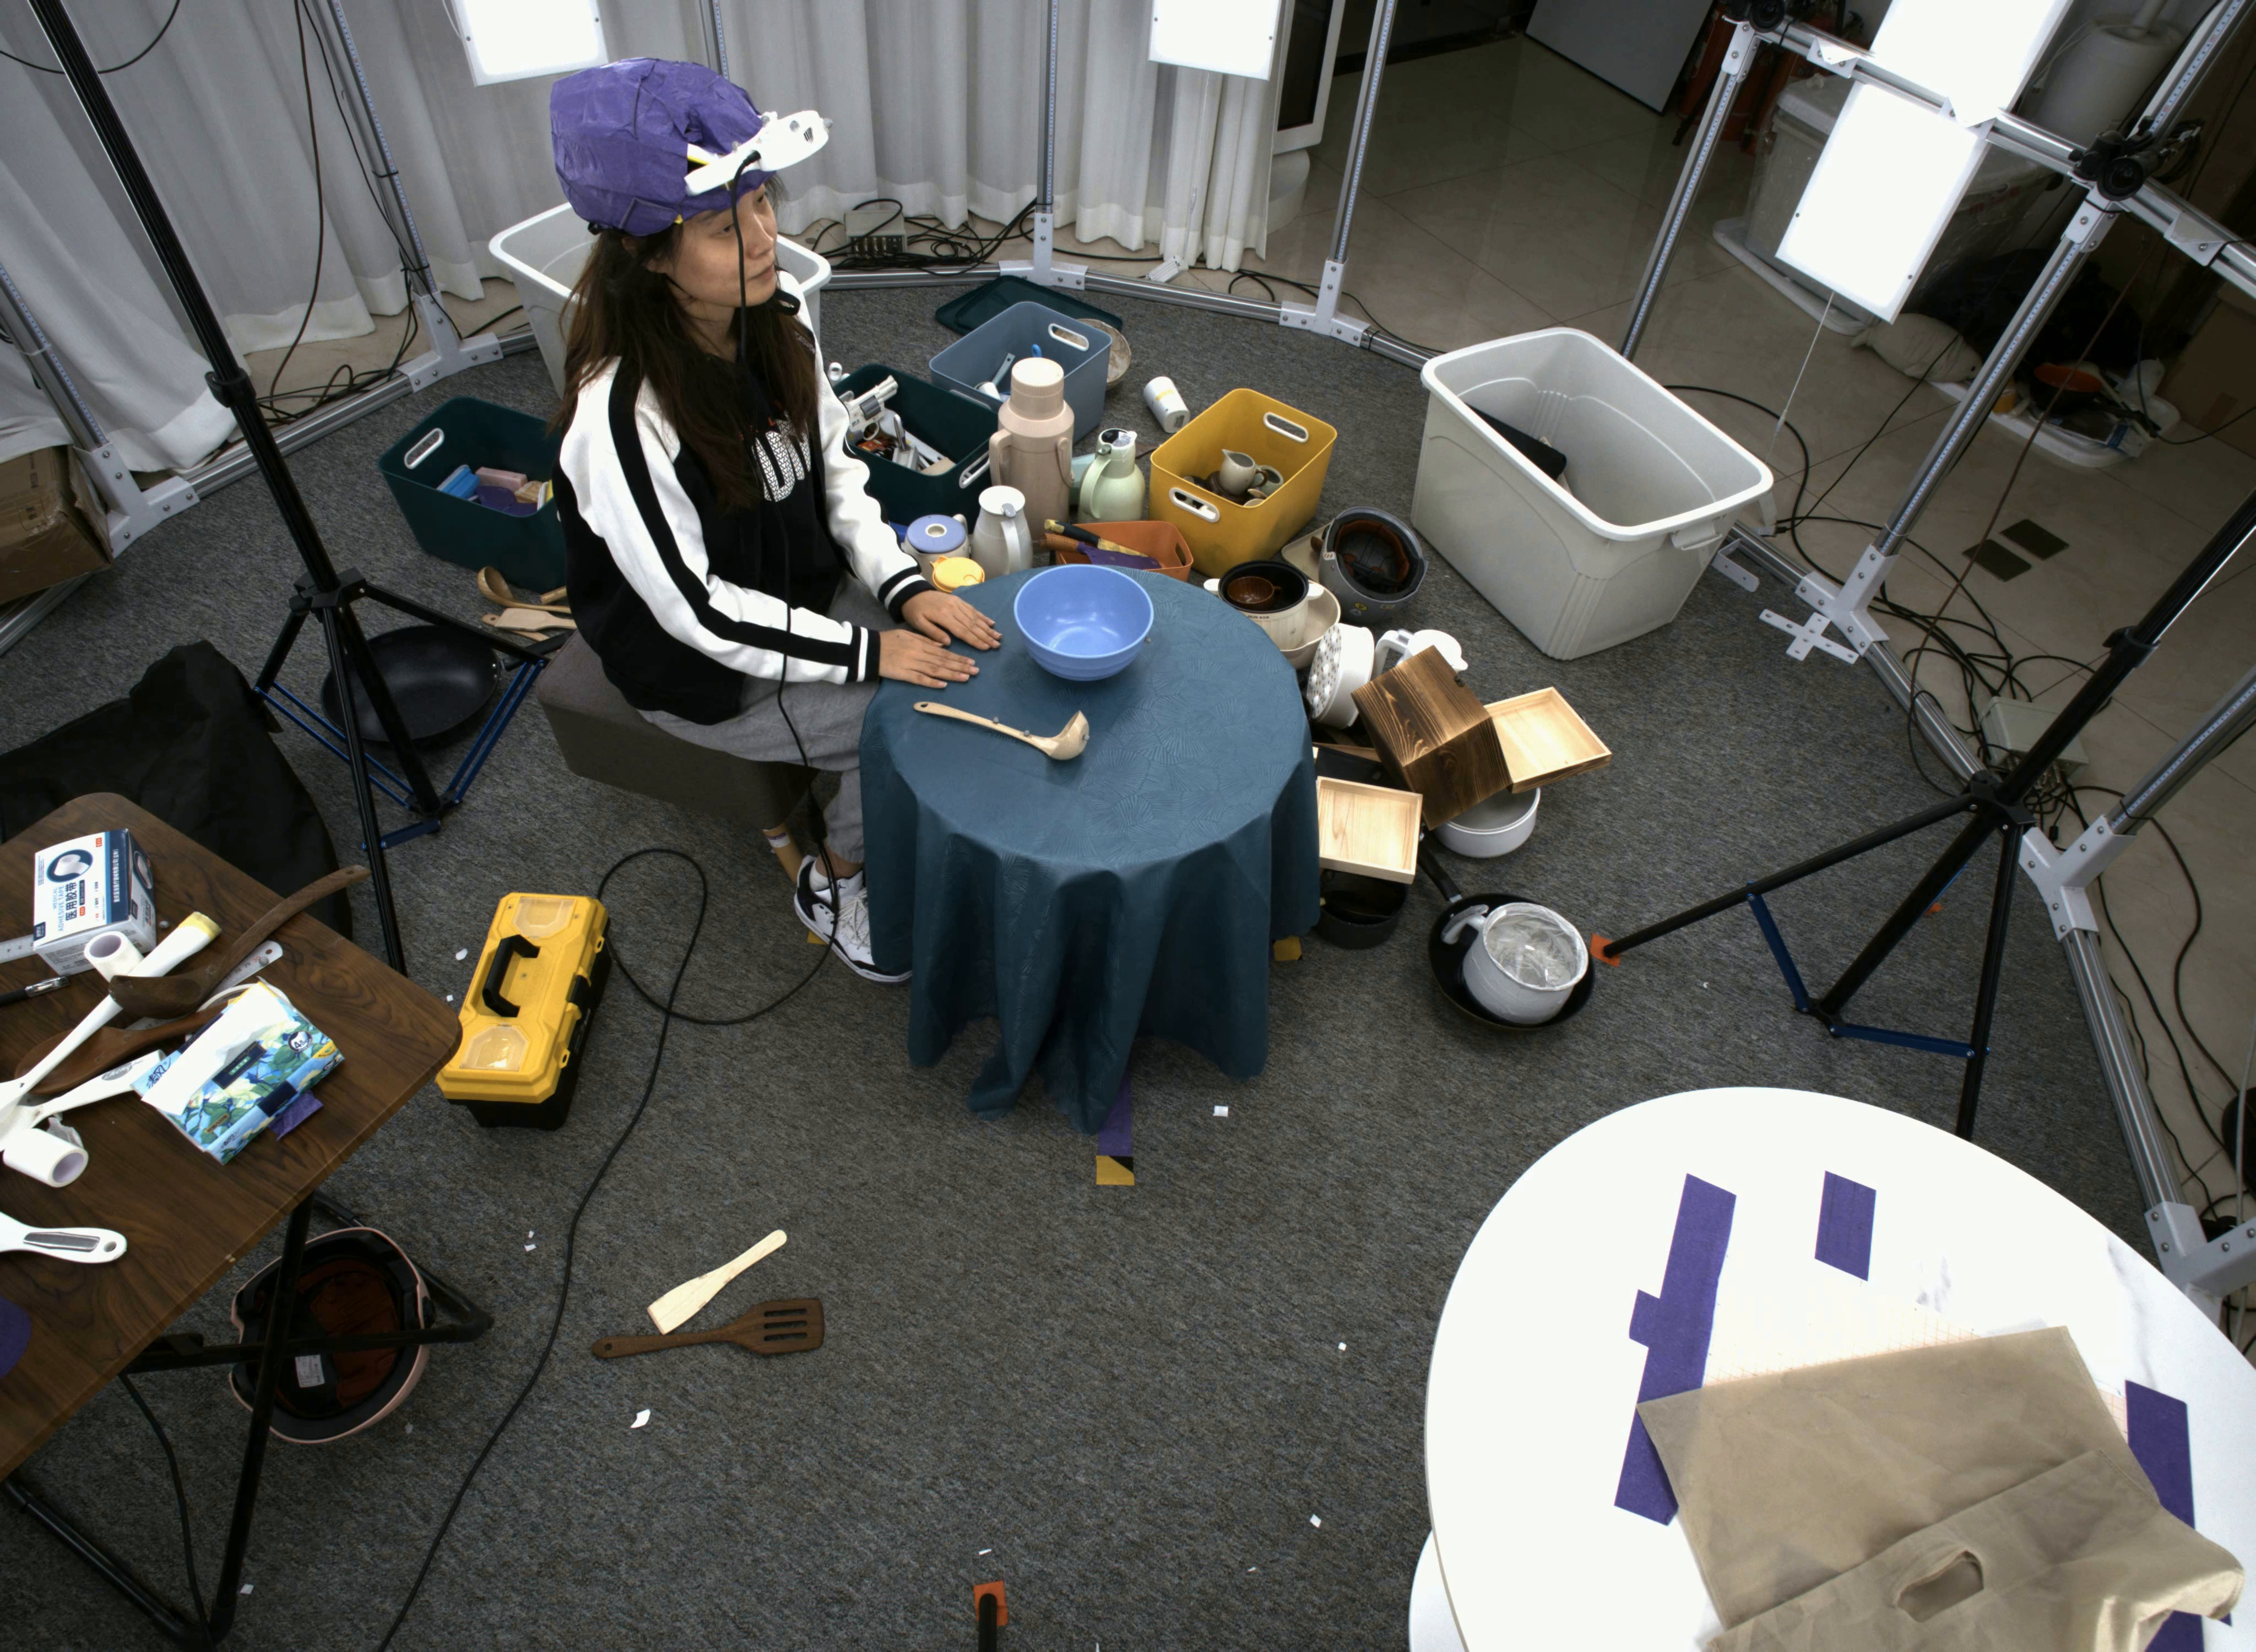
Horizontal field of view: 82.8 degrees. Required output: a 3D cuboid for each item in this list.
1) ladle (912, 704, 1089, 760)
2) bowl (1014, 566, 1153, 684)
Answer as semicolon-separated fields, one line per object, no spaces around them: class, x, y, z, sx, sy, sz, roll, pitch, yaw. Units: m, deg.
ladle;-0.177;-0.151;1.742;0.255;0.071;0.073;16;50;10
bowl;-0.064;-0.273;1.846;0.196;0.093;0.201;1;51;-2
